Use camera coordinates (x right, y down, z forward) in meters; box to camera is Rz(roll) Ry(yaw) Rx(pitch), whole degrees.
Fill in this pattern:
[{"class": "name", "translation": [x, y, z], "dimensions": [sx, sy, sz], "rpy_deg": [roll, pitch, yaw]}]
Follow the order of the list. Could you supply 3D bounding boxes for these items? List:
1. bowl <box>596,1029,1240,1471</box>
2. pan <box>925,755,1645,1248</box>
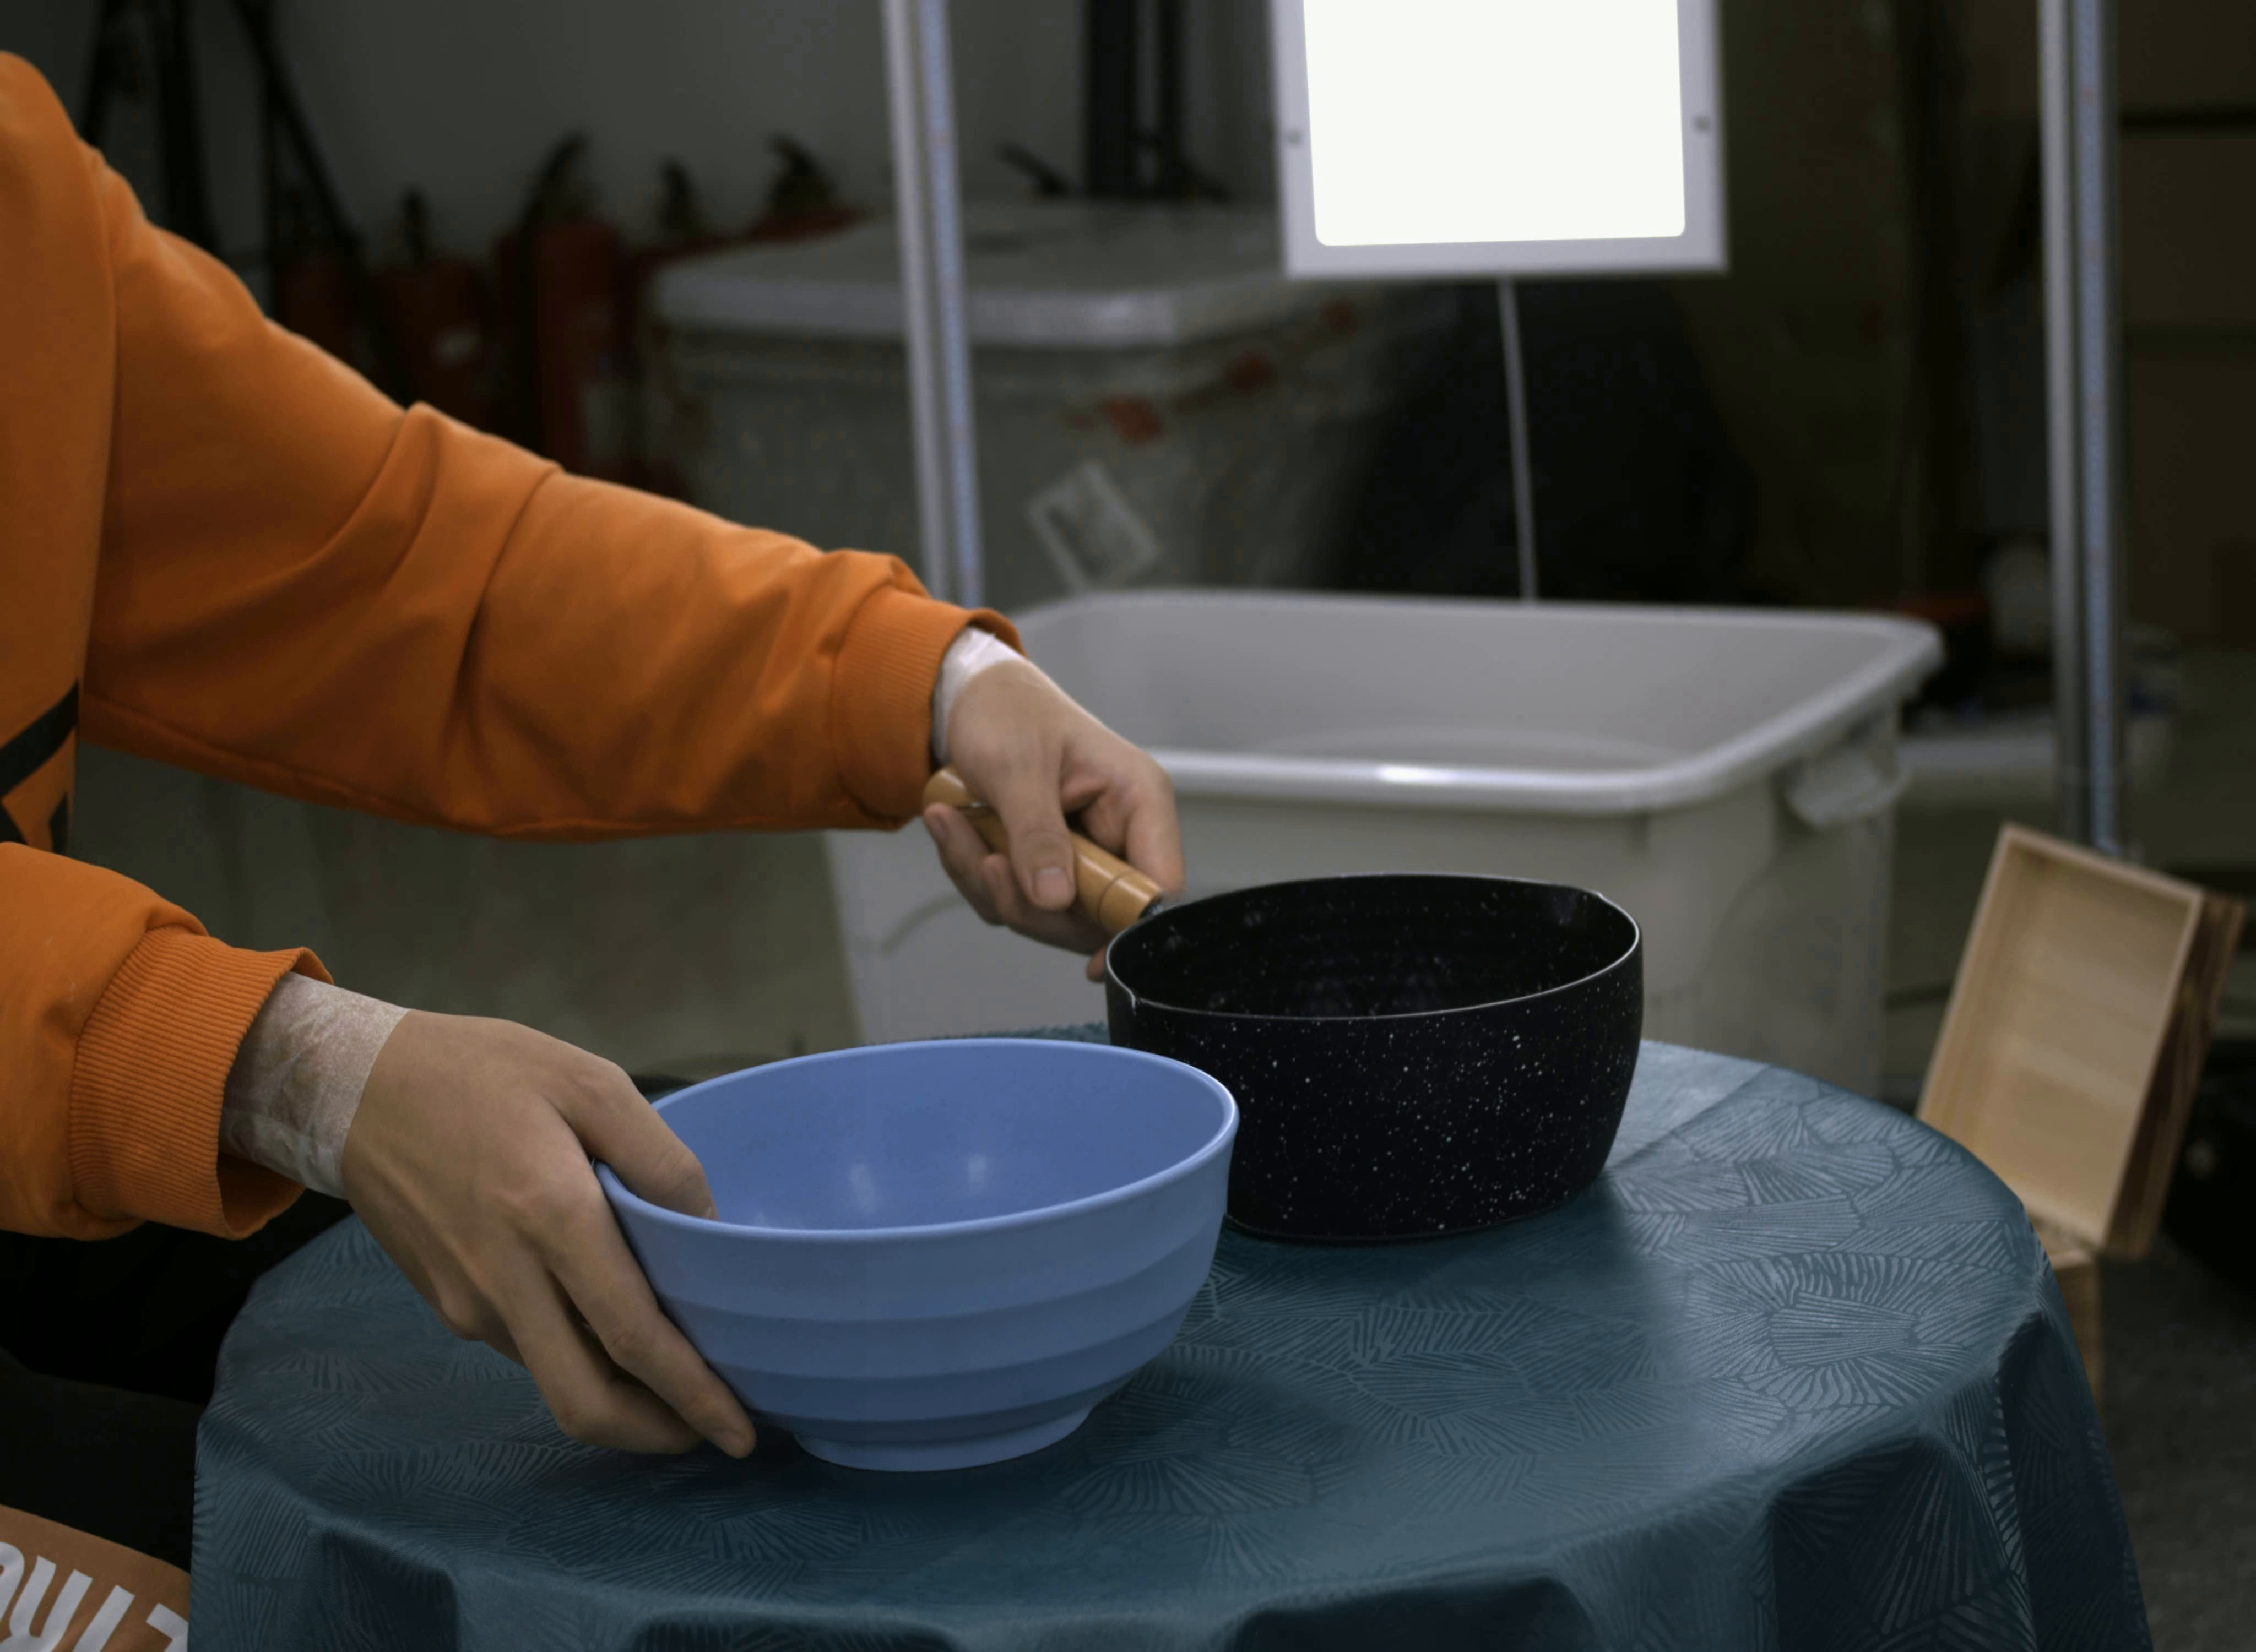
[{"class": "bowl", "translation": [-0.061, 0.136, 1.679], "dimensions": [0.196, 0.096, 0.196], "rpy_deg": [-4, 15, 0]}, {"class": "pan", "translation": [0.035, 0.055, 1.936], "dimensions": [0.202, 0.108, 0.350], "rpy_deg": [-15, 19, -35]}]
